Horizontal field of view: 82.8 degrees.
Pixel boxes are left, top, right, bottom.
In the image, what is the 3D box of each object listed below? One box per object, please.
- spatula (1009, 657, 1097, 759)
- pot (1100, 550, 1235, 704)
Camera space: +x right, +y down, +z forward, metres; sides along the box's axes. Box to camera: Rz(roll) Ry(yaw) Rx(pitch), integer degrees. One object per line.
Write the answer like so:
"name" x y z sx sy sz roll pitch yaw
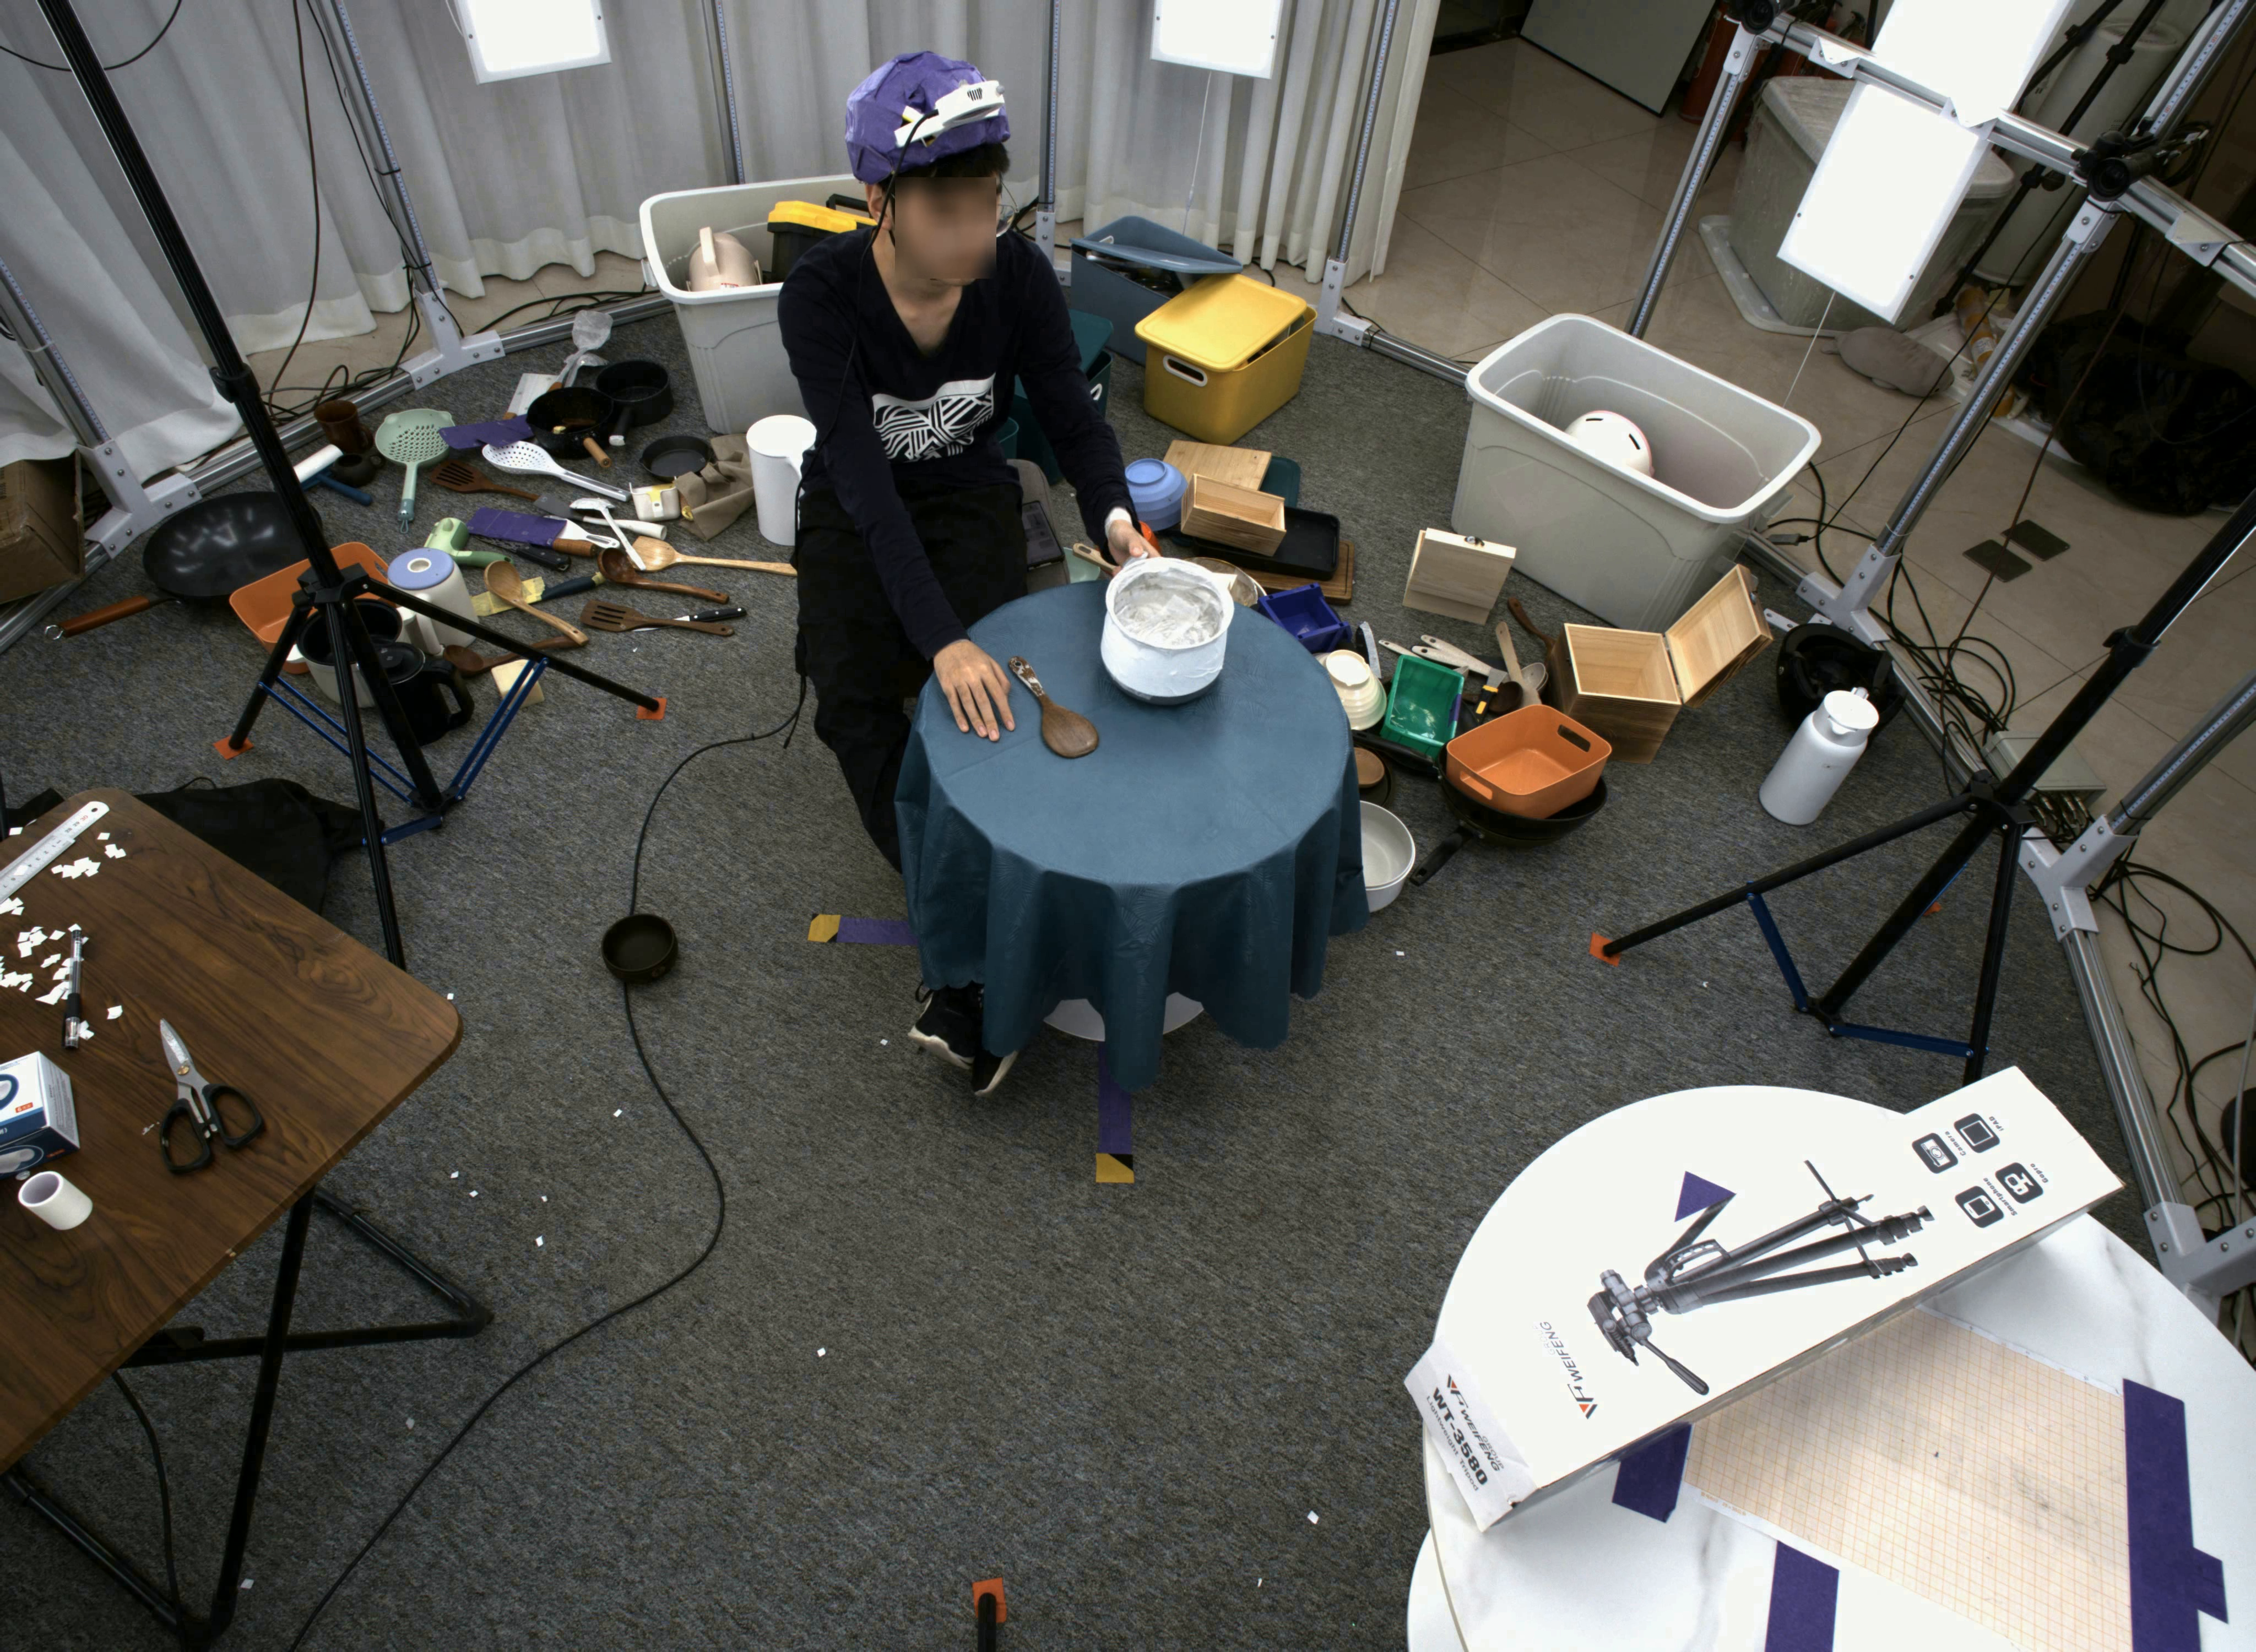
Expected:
"spatula" -0.112 -0.171 1.805 0.072 0.009 0.220 -20 52 -21
"pot" 0.041 -0.292 1.827 0.179 0.133 0.239 -15 56 -20
